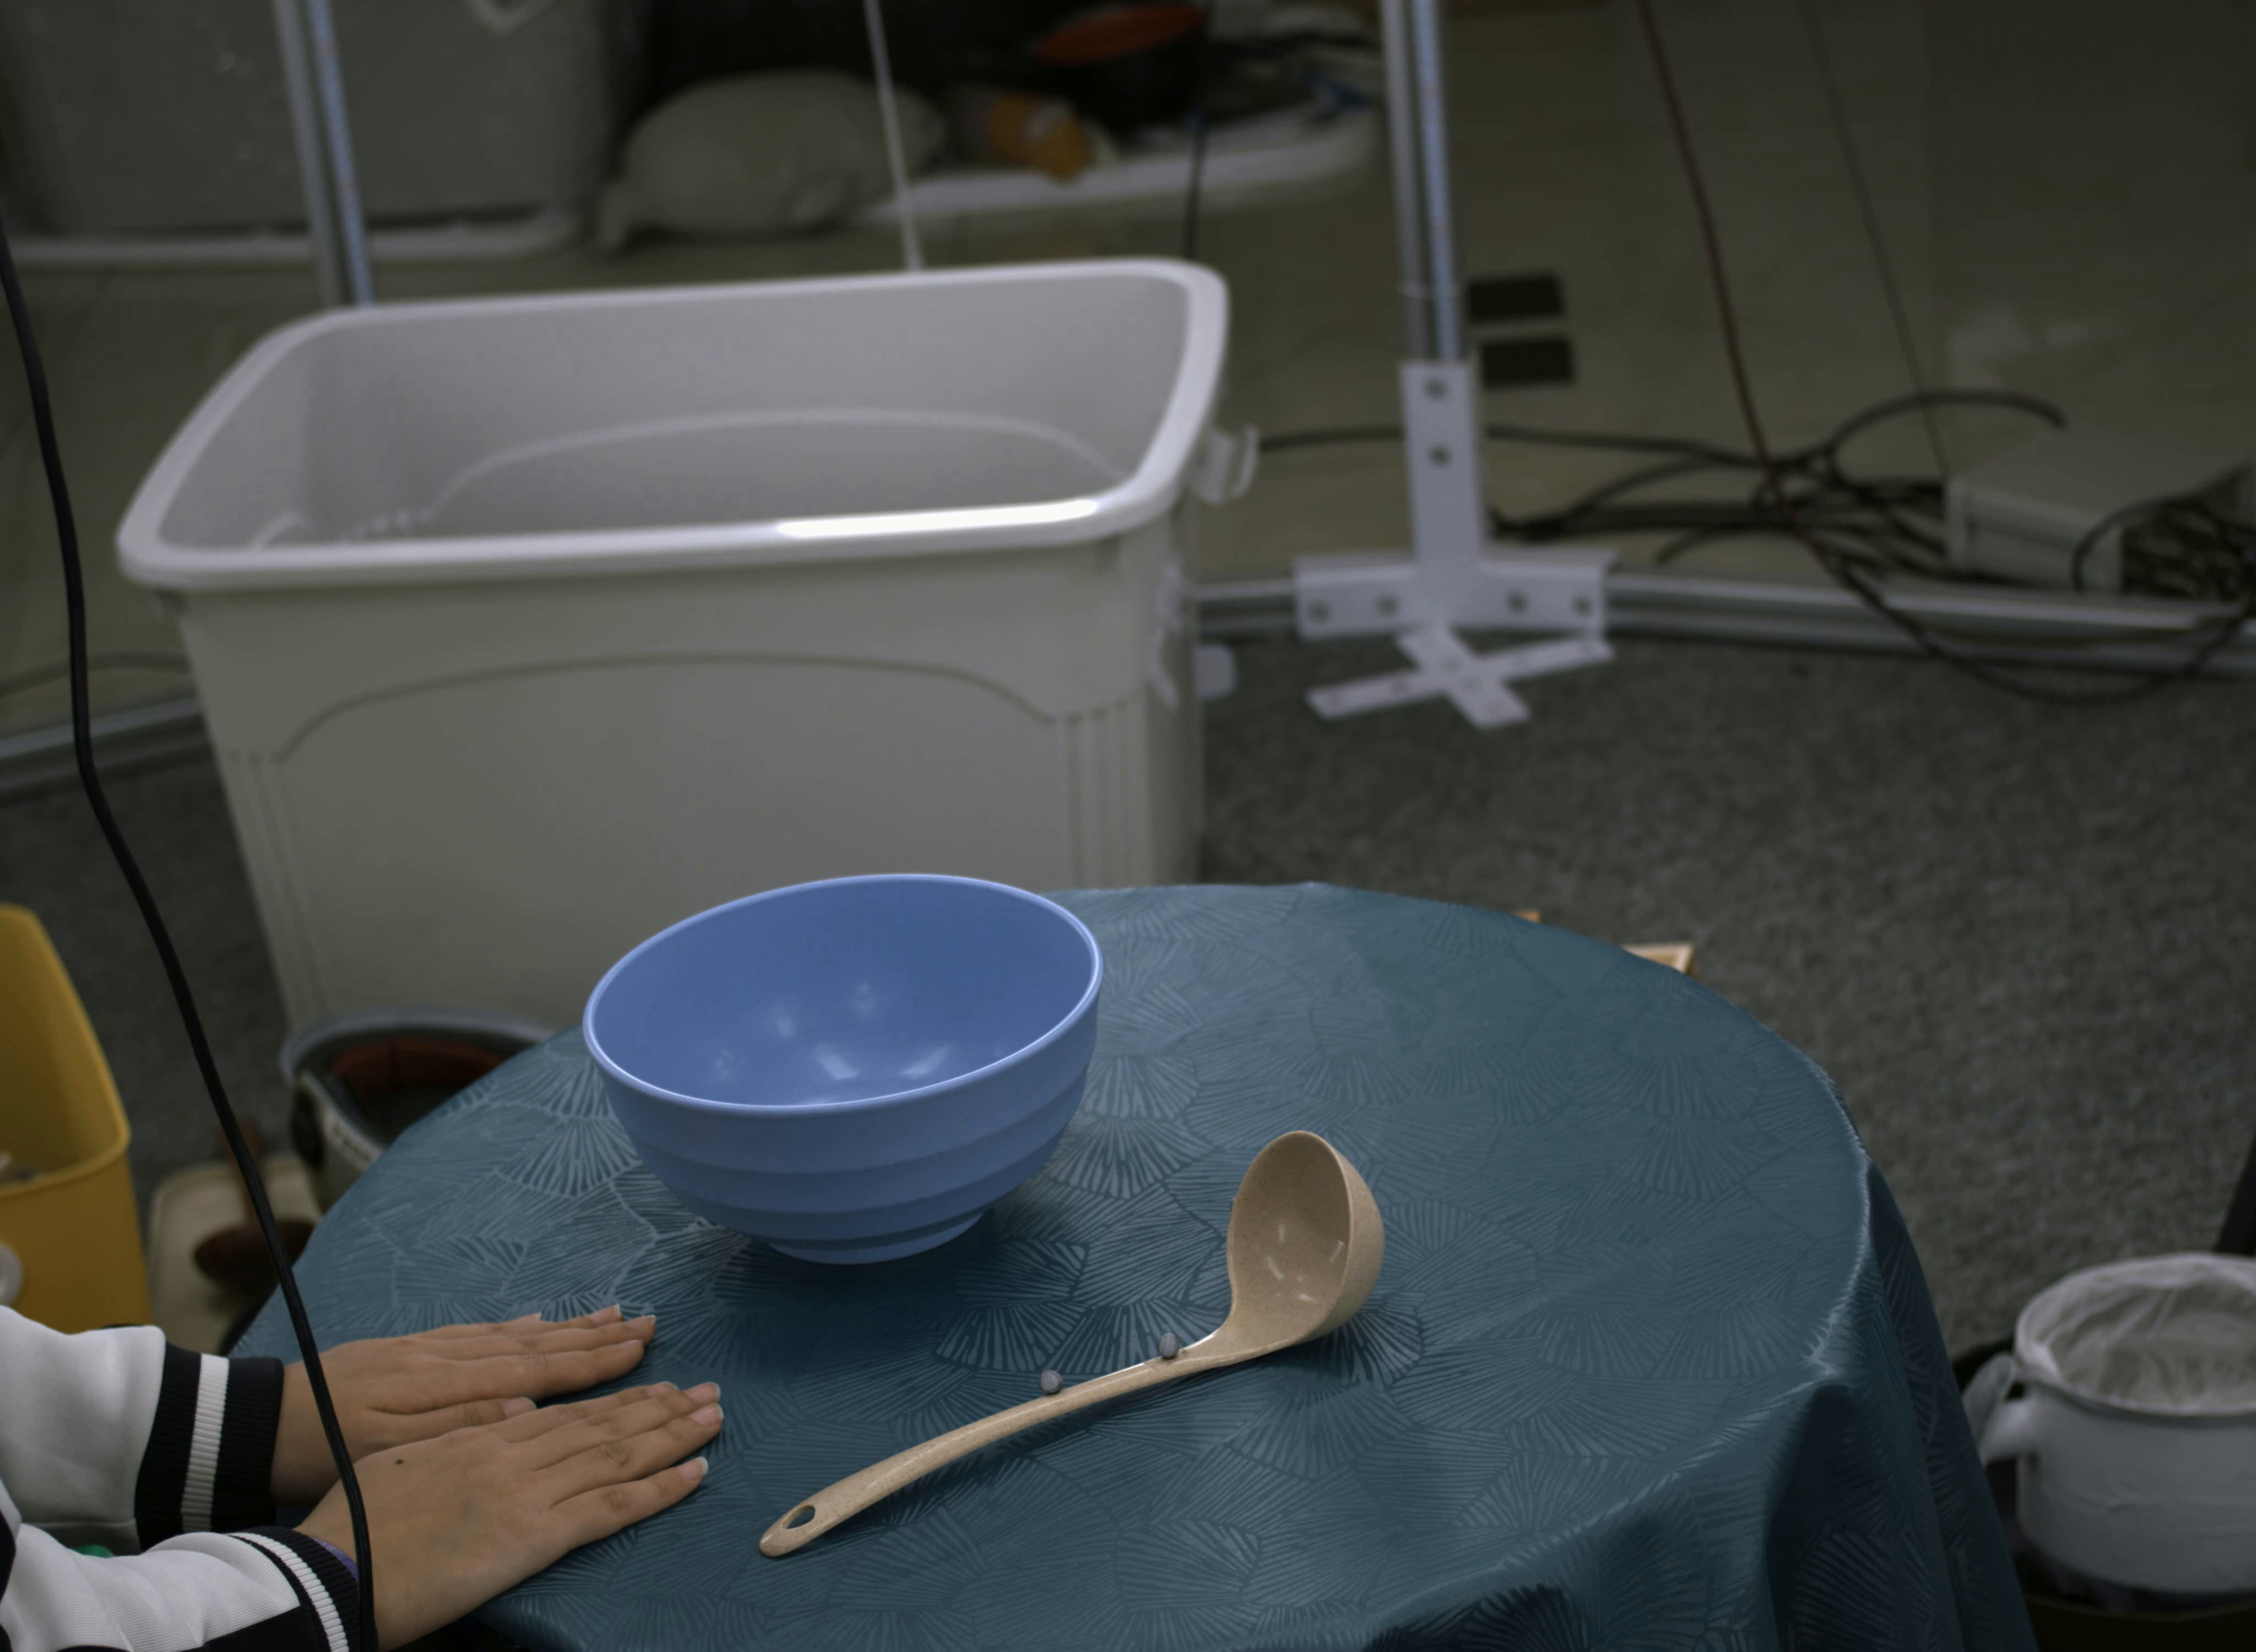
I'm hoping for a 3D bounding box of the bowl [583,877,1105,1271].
[{"bbox_3d":[-0.102,0.105,2.140,0.196,0.097,0.193,-5,26,2],"label":"bowl"}]

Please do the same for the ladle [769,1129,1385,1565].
[{"bbox_3d":[-0.022,0.178,1.982,0.253,0.074,0.071,-21,28,-29],"label":"ladle"}]
